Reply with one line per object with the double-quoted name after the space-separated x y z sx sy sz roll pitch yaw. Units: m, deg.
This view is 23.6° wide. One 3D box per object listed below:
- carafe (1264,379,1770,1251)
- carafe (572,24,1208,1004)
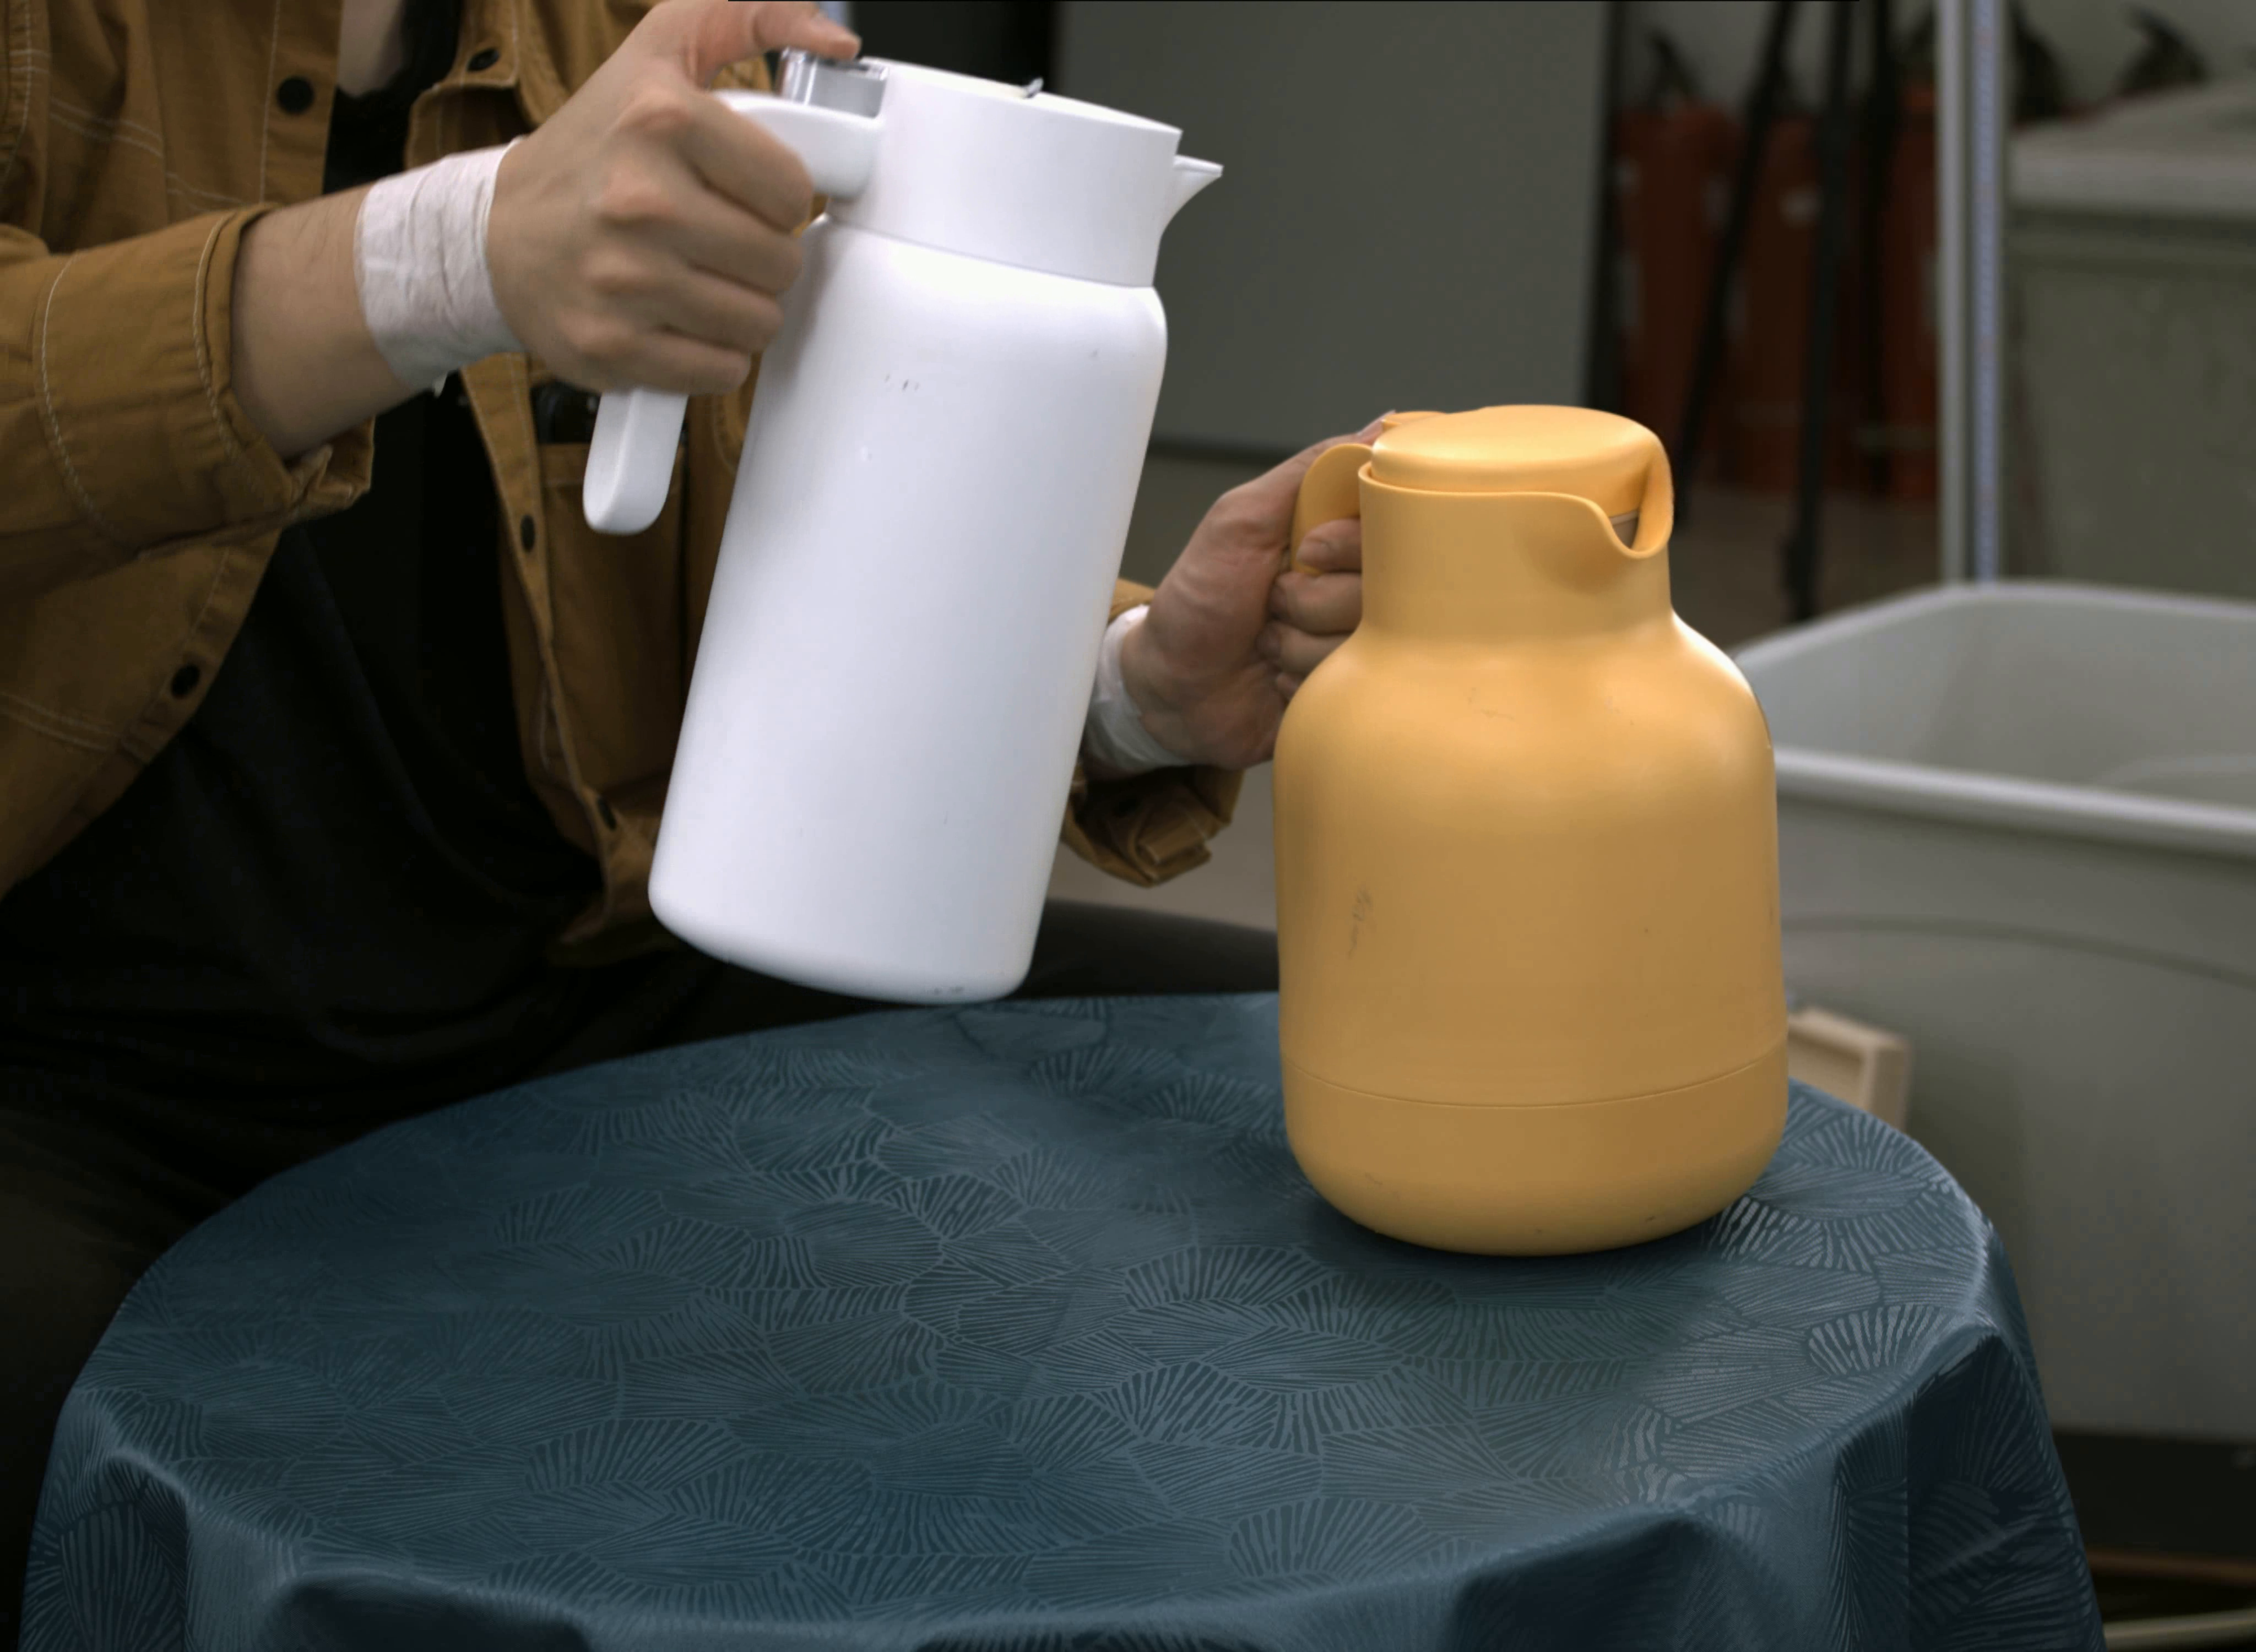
0.115 -0.011 1.720 0.160 0.263 0.204 -7 15 -25 "carafe"
-0.077 -0.092 1.580 0.169 0.272 0.125 8 11 -24 "carafe"
